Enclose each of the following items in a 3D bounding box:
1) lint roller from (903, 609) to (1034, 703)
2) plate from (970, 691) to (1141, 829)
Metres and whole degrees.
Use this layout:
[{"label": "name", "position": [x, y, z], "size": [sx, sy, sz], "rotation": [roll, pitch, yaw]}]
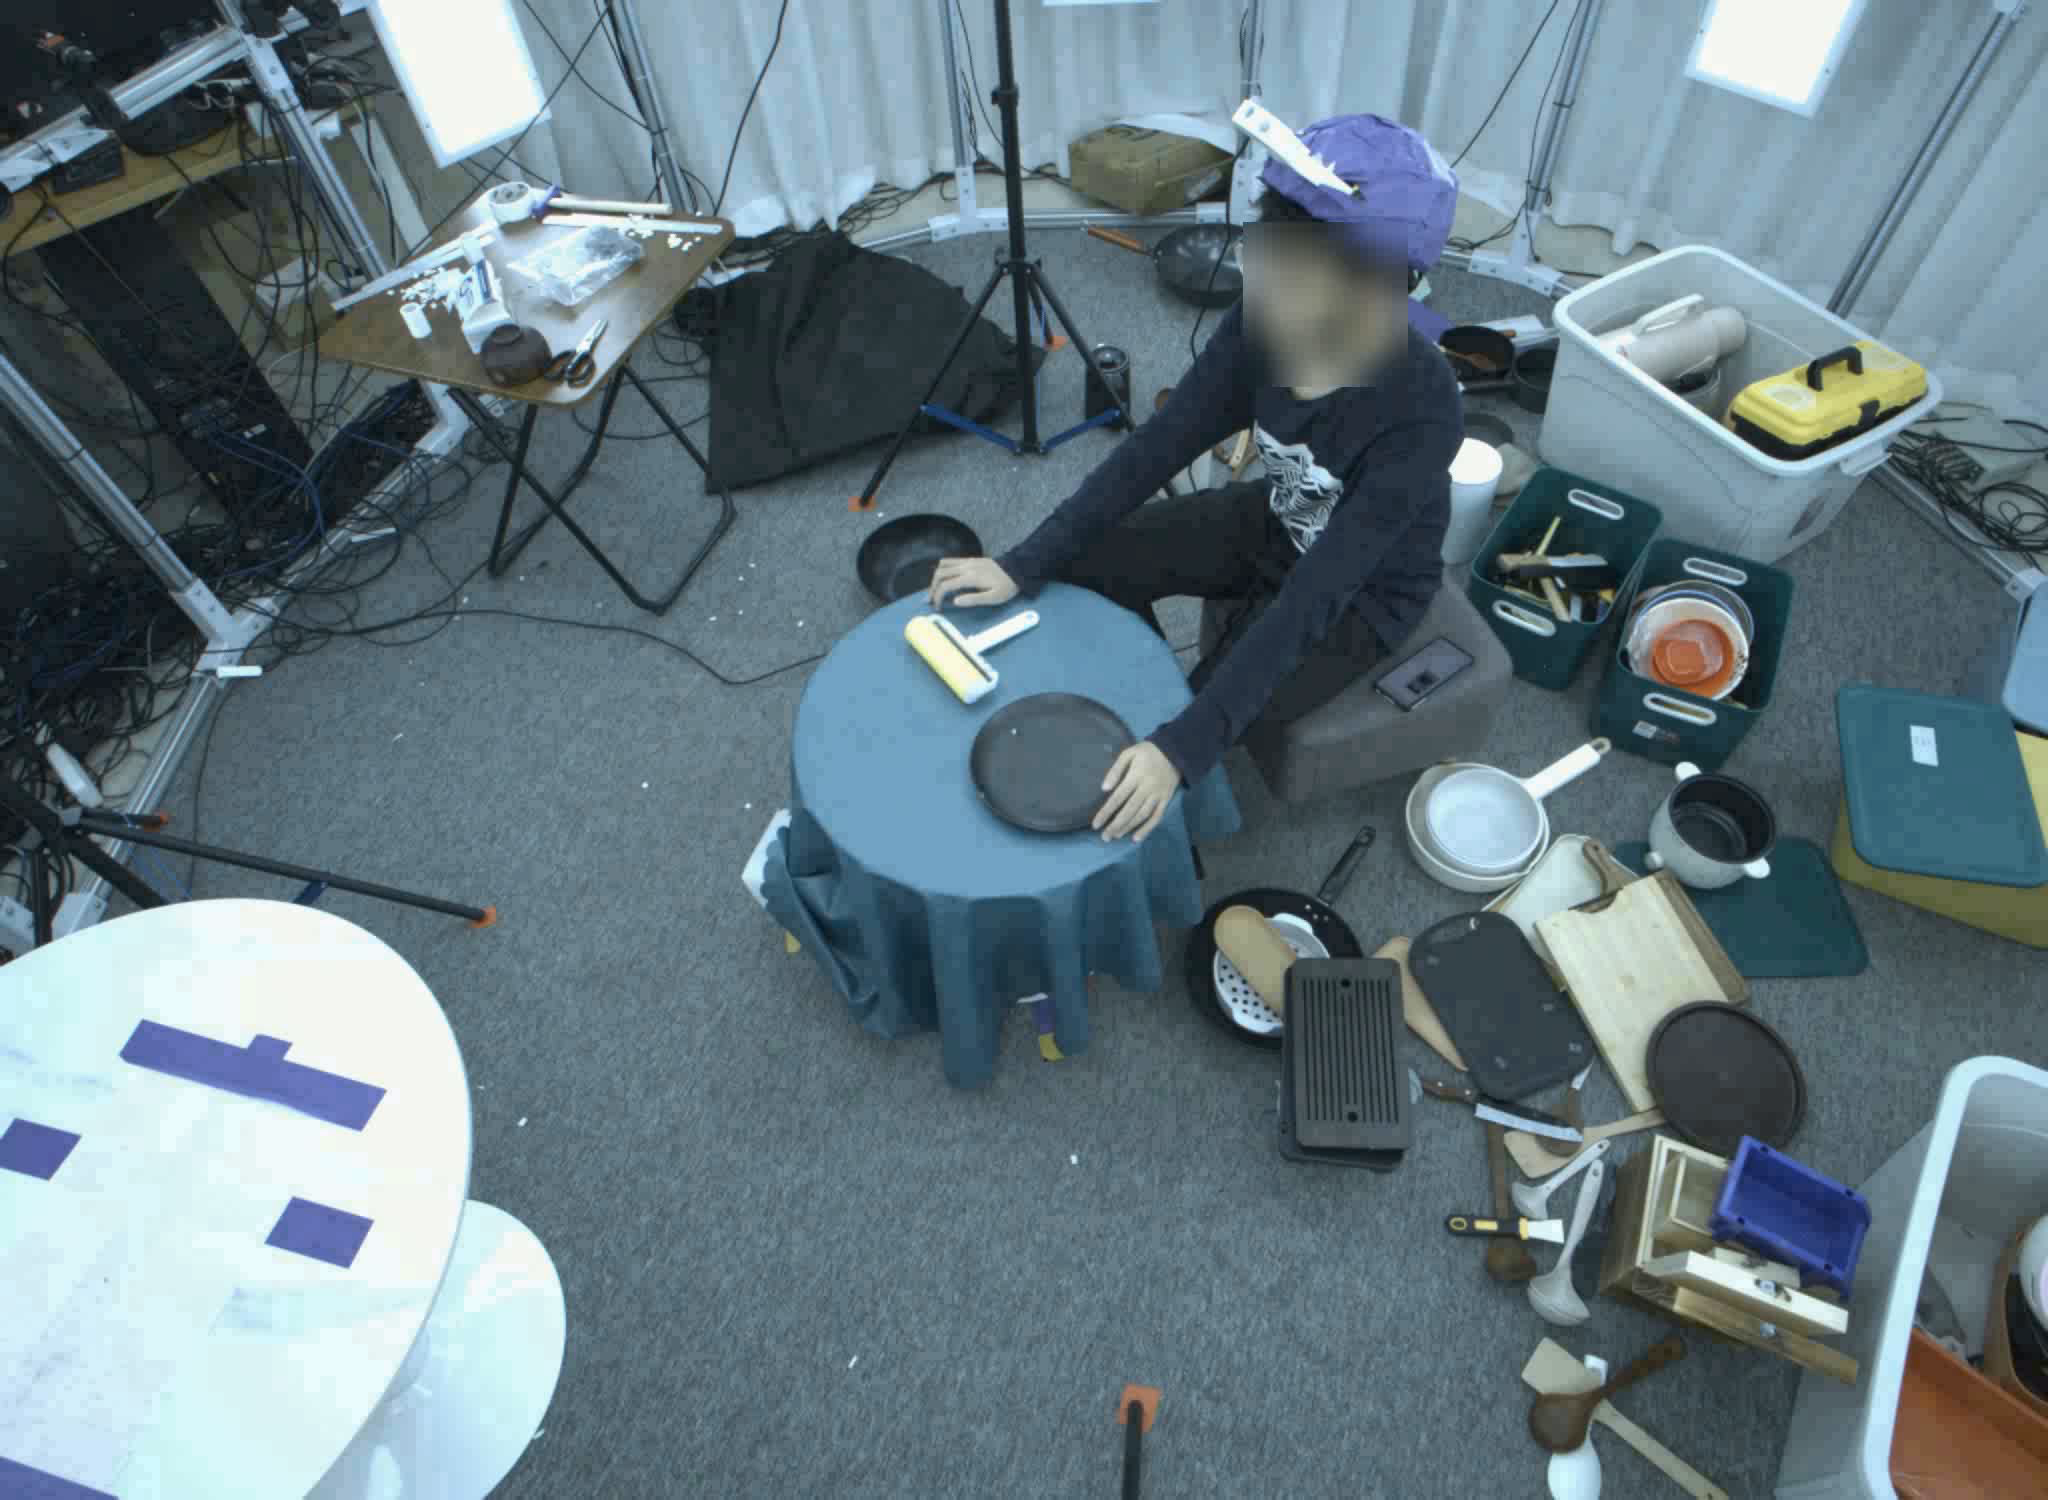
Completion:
[{"label": "lint roller", "position": [-0.065, -0.177, 1.893], "size": [0.193, 0.052, 0.171], "rotation": [-35, 61, -18]}, {"label": "plate", "position": [0.045, 0.016, 1.768], "size": [0.244, 0.023, 0.242], "rotation": [0, 54, 1]}]
